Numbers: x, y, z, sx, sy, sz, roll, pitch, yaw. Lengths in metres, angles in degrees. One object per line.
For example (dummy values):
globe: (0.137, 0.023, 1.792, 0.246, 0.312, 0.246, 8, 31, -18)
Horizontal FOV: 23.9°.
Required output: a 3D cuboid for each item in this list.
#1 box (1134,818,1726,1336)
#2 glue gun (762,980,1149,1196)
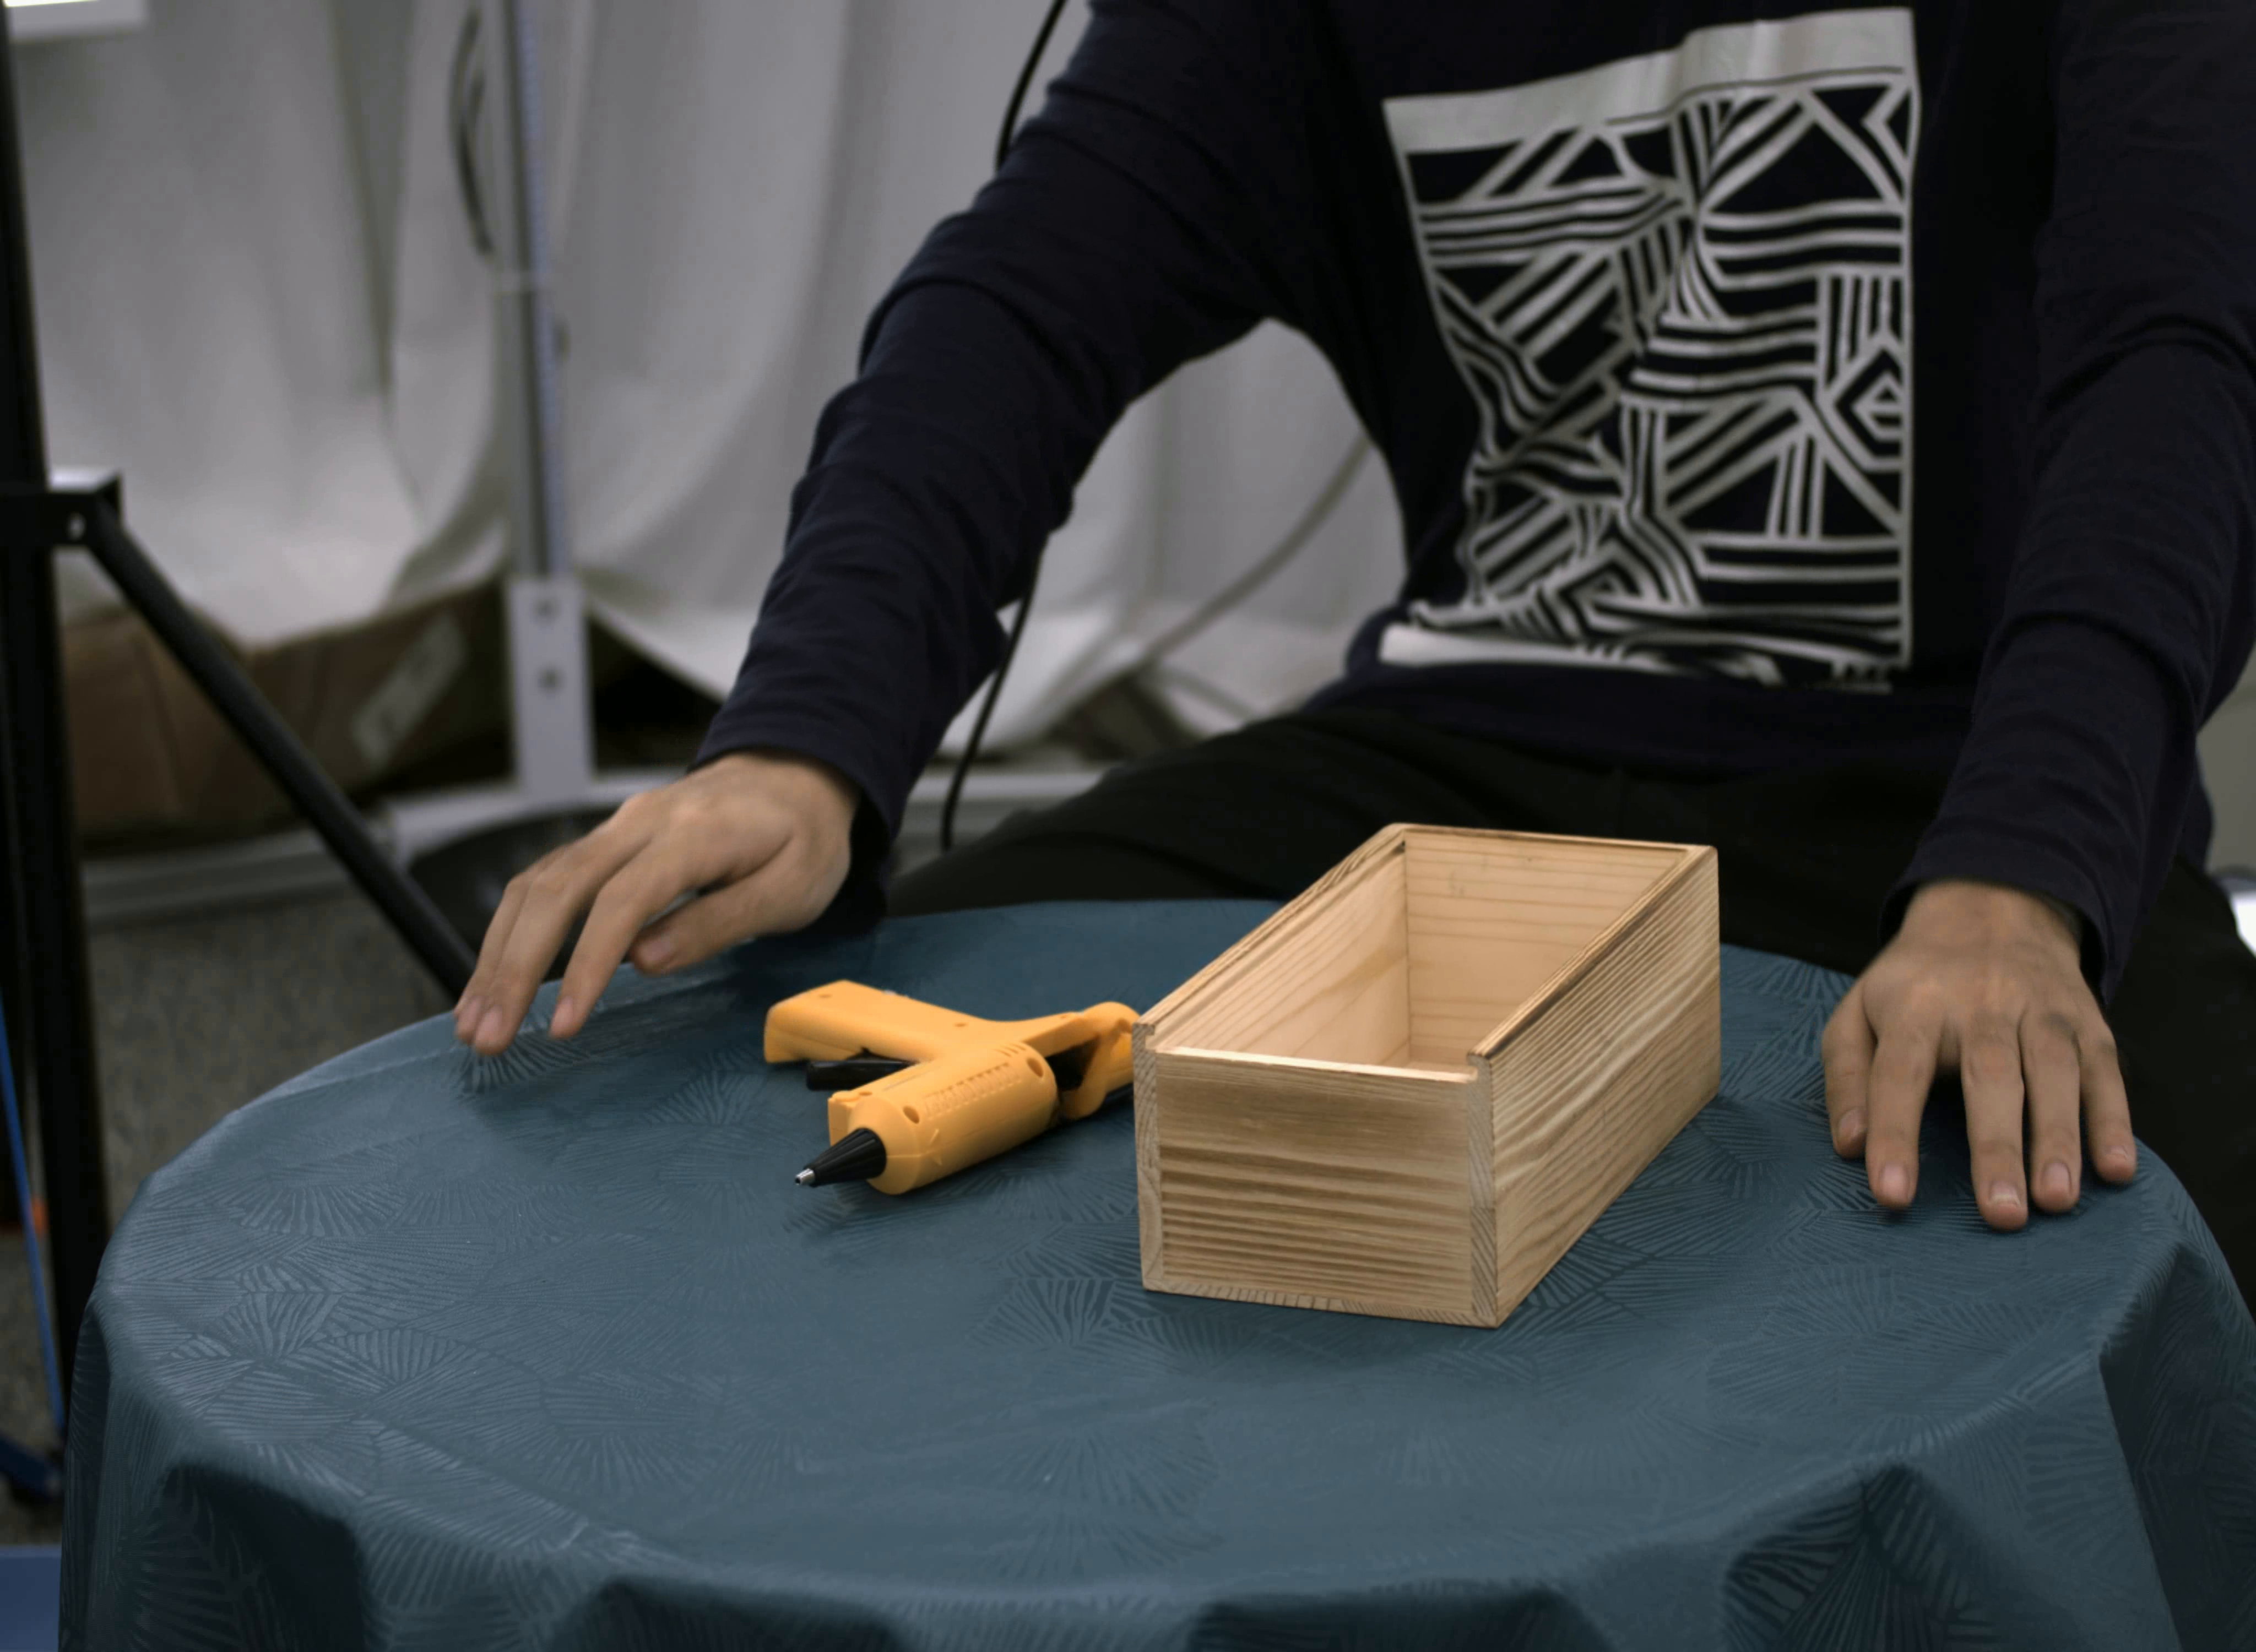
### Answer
box: (0.092, 0.068, 1.536, 0.109, 0.080, 0.208, 5, 18, 23)
glue gun: (-0.083, 0.081, 1.618, 0.136, 0.031, 0.148, 8, 18, 35)
